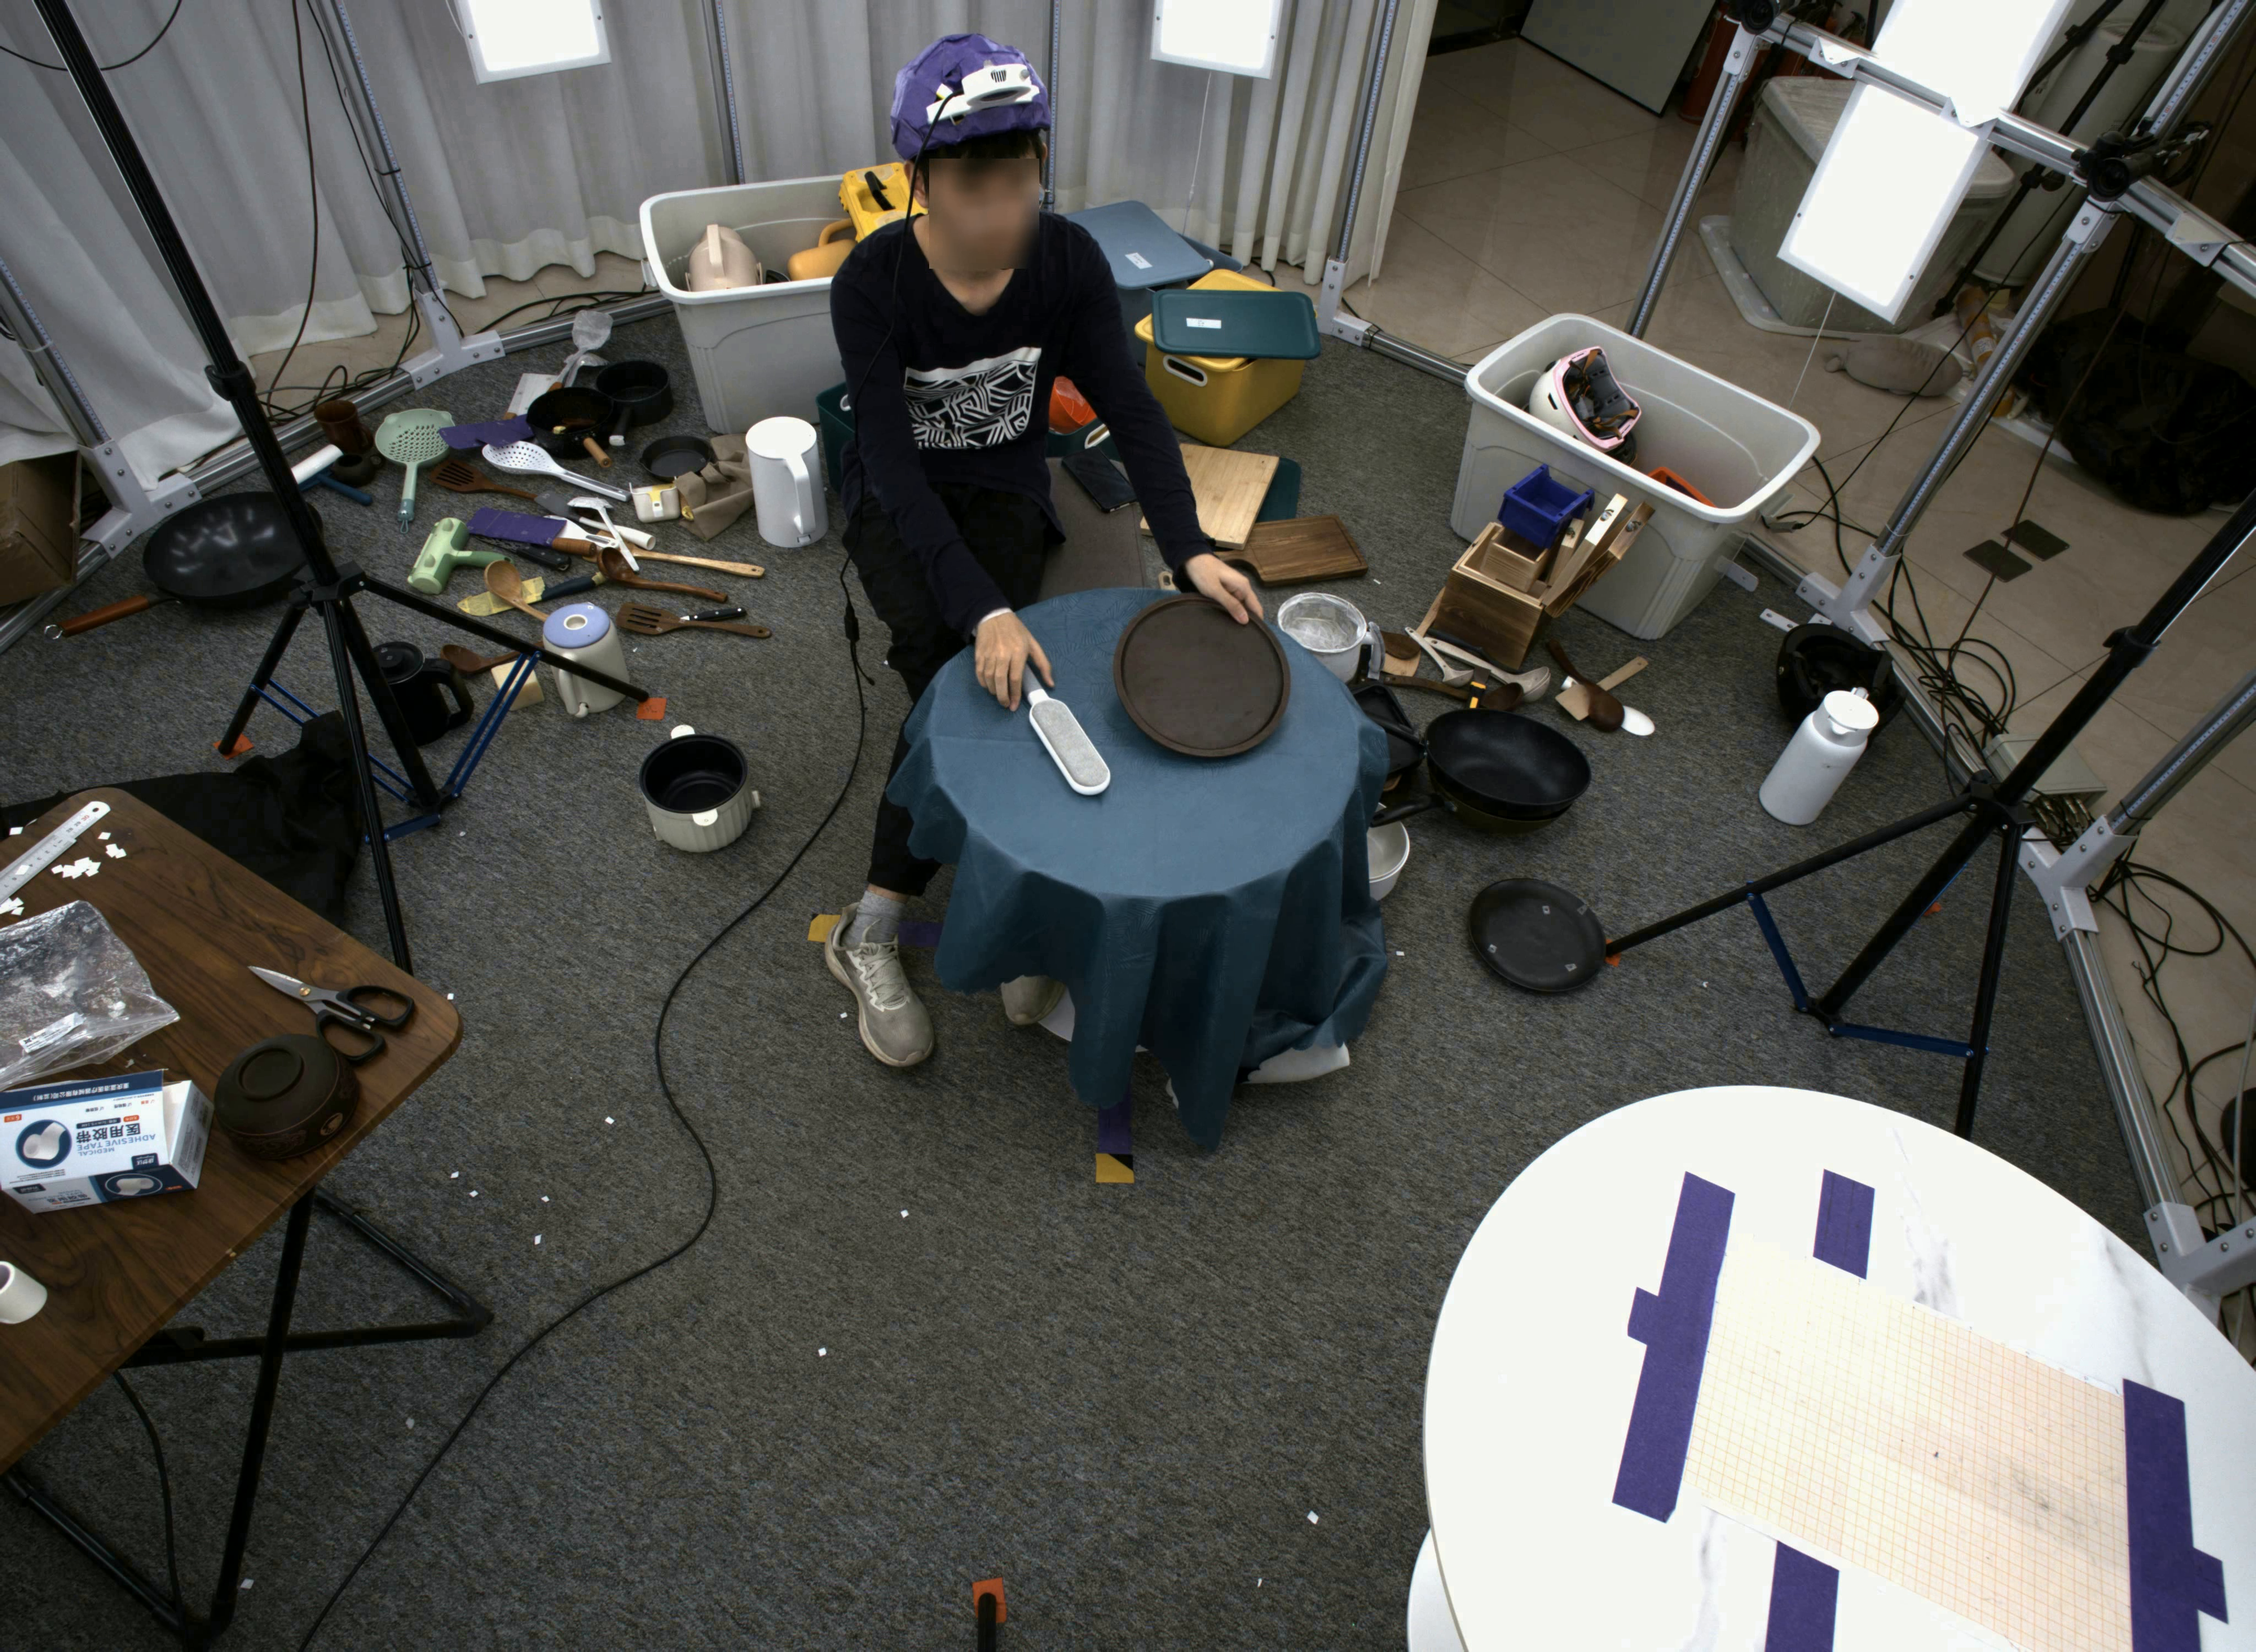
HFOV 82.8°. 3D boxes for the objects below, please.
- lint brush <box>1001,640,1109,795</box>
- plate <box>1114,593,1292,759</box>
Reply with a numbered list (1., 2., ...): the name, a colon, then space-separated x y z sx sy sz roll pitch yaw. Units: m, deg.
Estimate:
1. lint brush: -0.107 -0.156 1.778 0.060 0.020 0.316 -22 54 -14
2. plate: 0.105 -0.210 1.791 0.254 0.028 0.259 4 67 -10
